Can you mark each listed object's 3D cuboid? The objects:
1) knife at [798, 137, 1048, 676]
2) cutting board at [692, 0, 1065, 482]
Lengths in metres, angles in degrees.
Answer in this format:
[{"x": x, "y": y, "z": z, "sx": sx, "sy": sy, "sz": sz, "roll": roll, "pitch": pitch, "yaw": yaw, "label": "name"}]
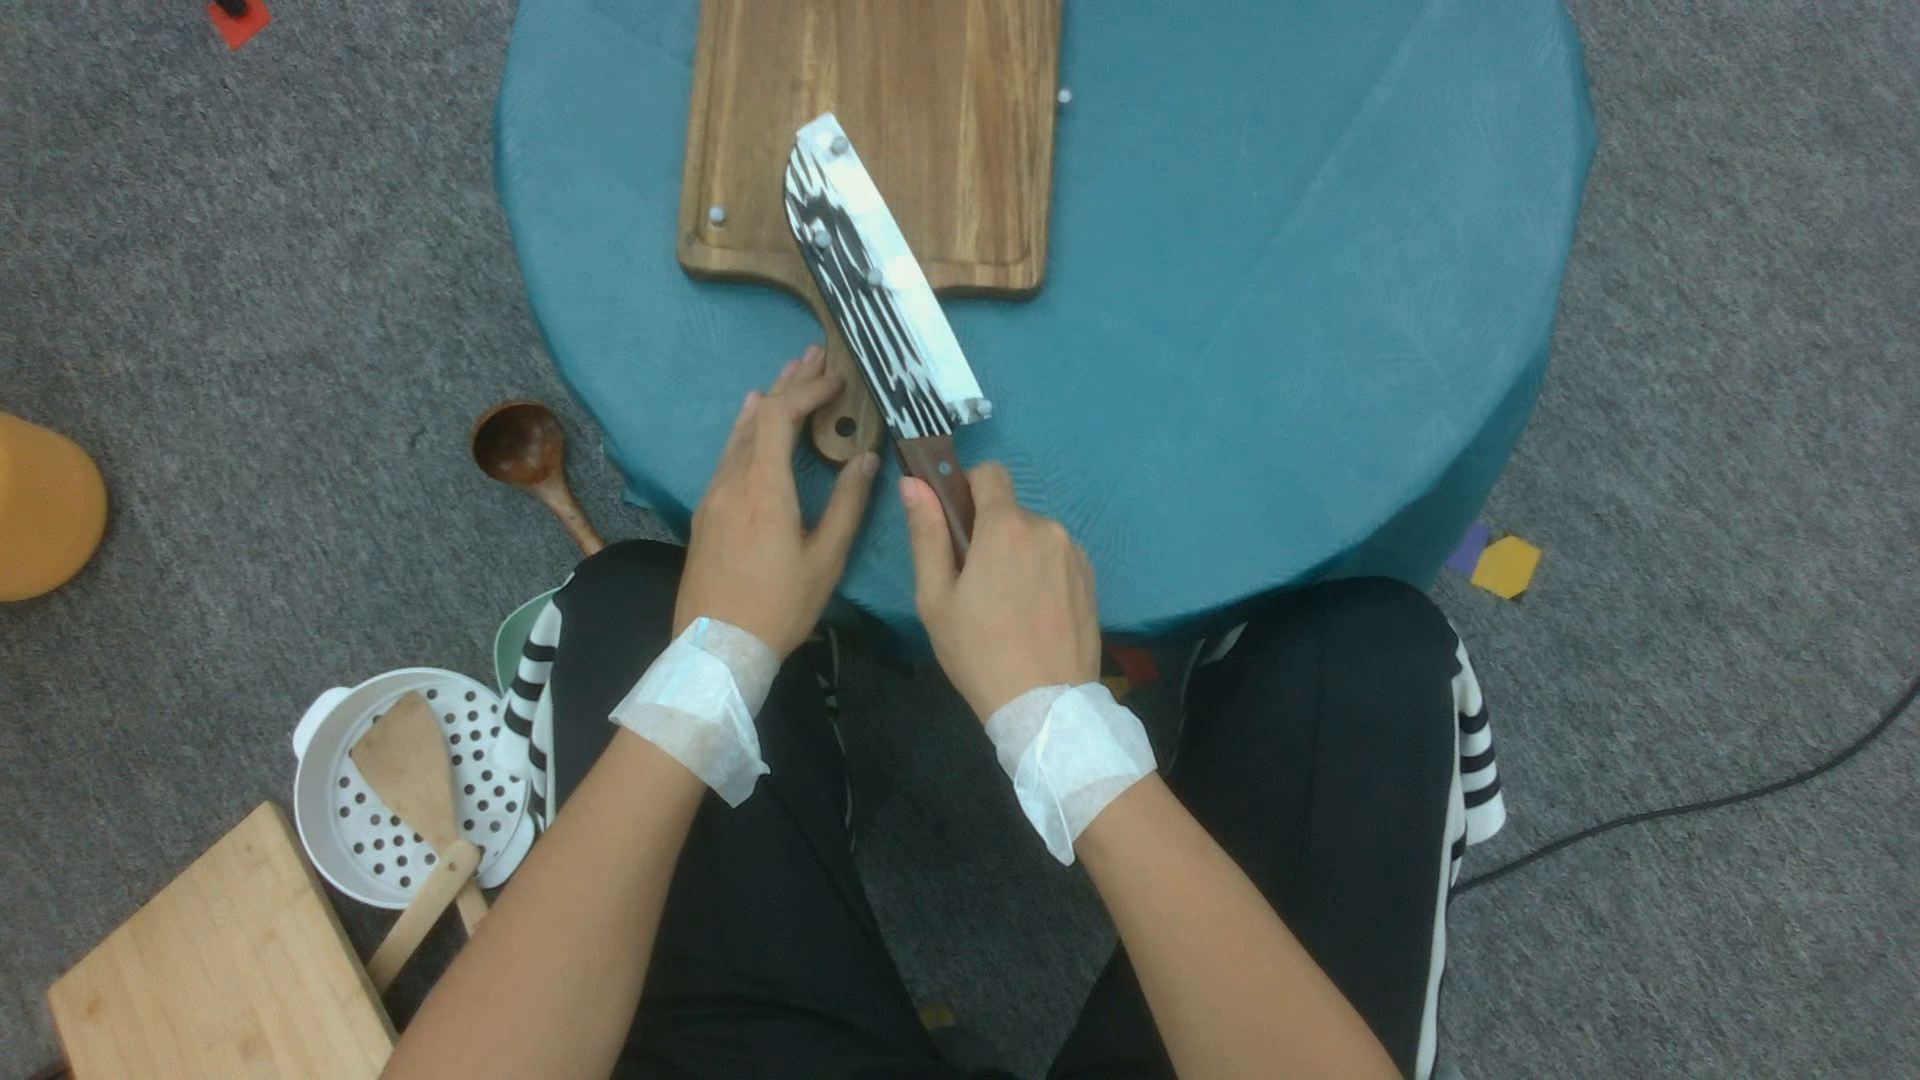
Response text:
[{"x": -0.014, "y": -0.075, "z": 0.704, "sx": 0.068, "sy": 0.024, "sz": 0.299, "roll": -20, "pitch": 82, "yaw": -39, "label": "knife"}, {"x": -0.045, "y": -0.205, "z": 0.764, "sx": 0.201, "sy": 0.023, "sz": 0.353, "roll": 3, "pitch": 79, "yaw": 2, "label": "cutting board"}]
